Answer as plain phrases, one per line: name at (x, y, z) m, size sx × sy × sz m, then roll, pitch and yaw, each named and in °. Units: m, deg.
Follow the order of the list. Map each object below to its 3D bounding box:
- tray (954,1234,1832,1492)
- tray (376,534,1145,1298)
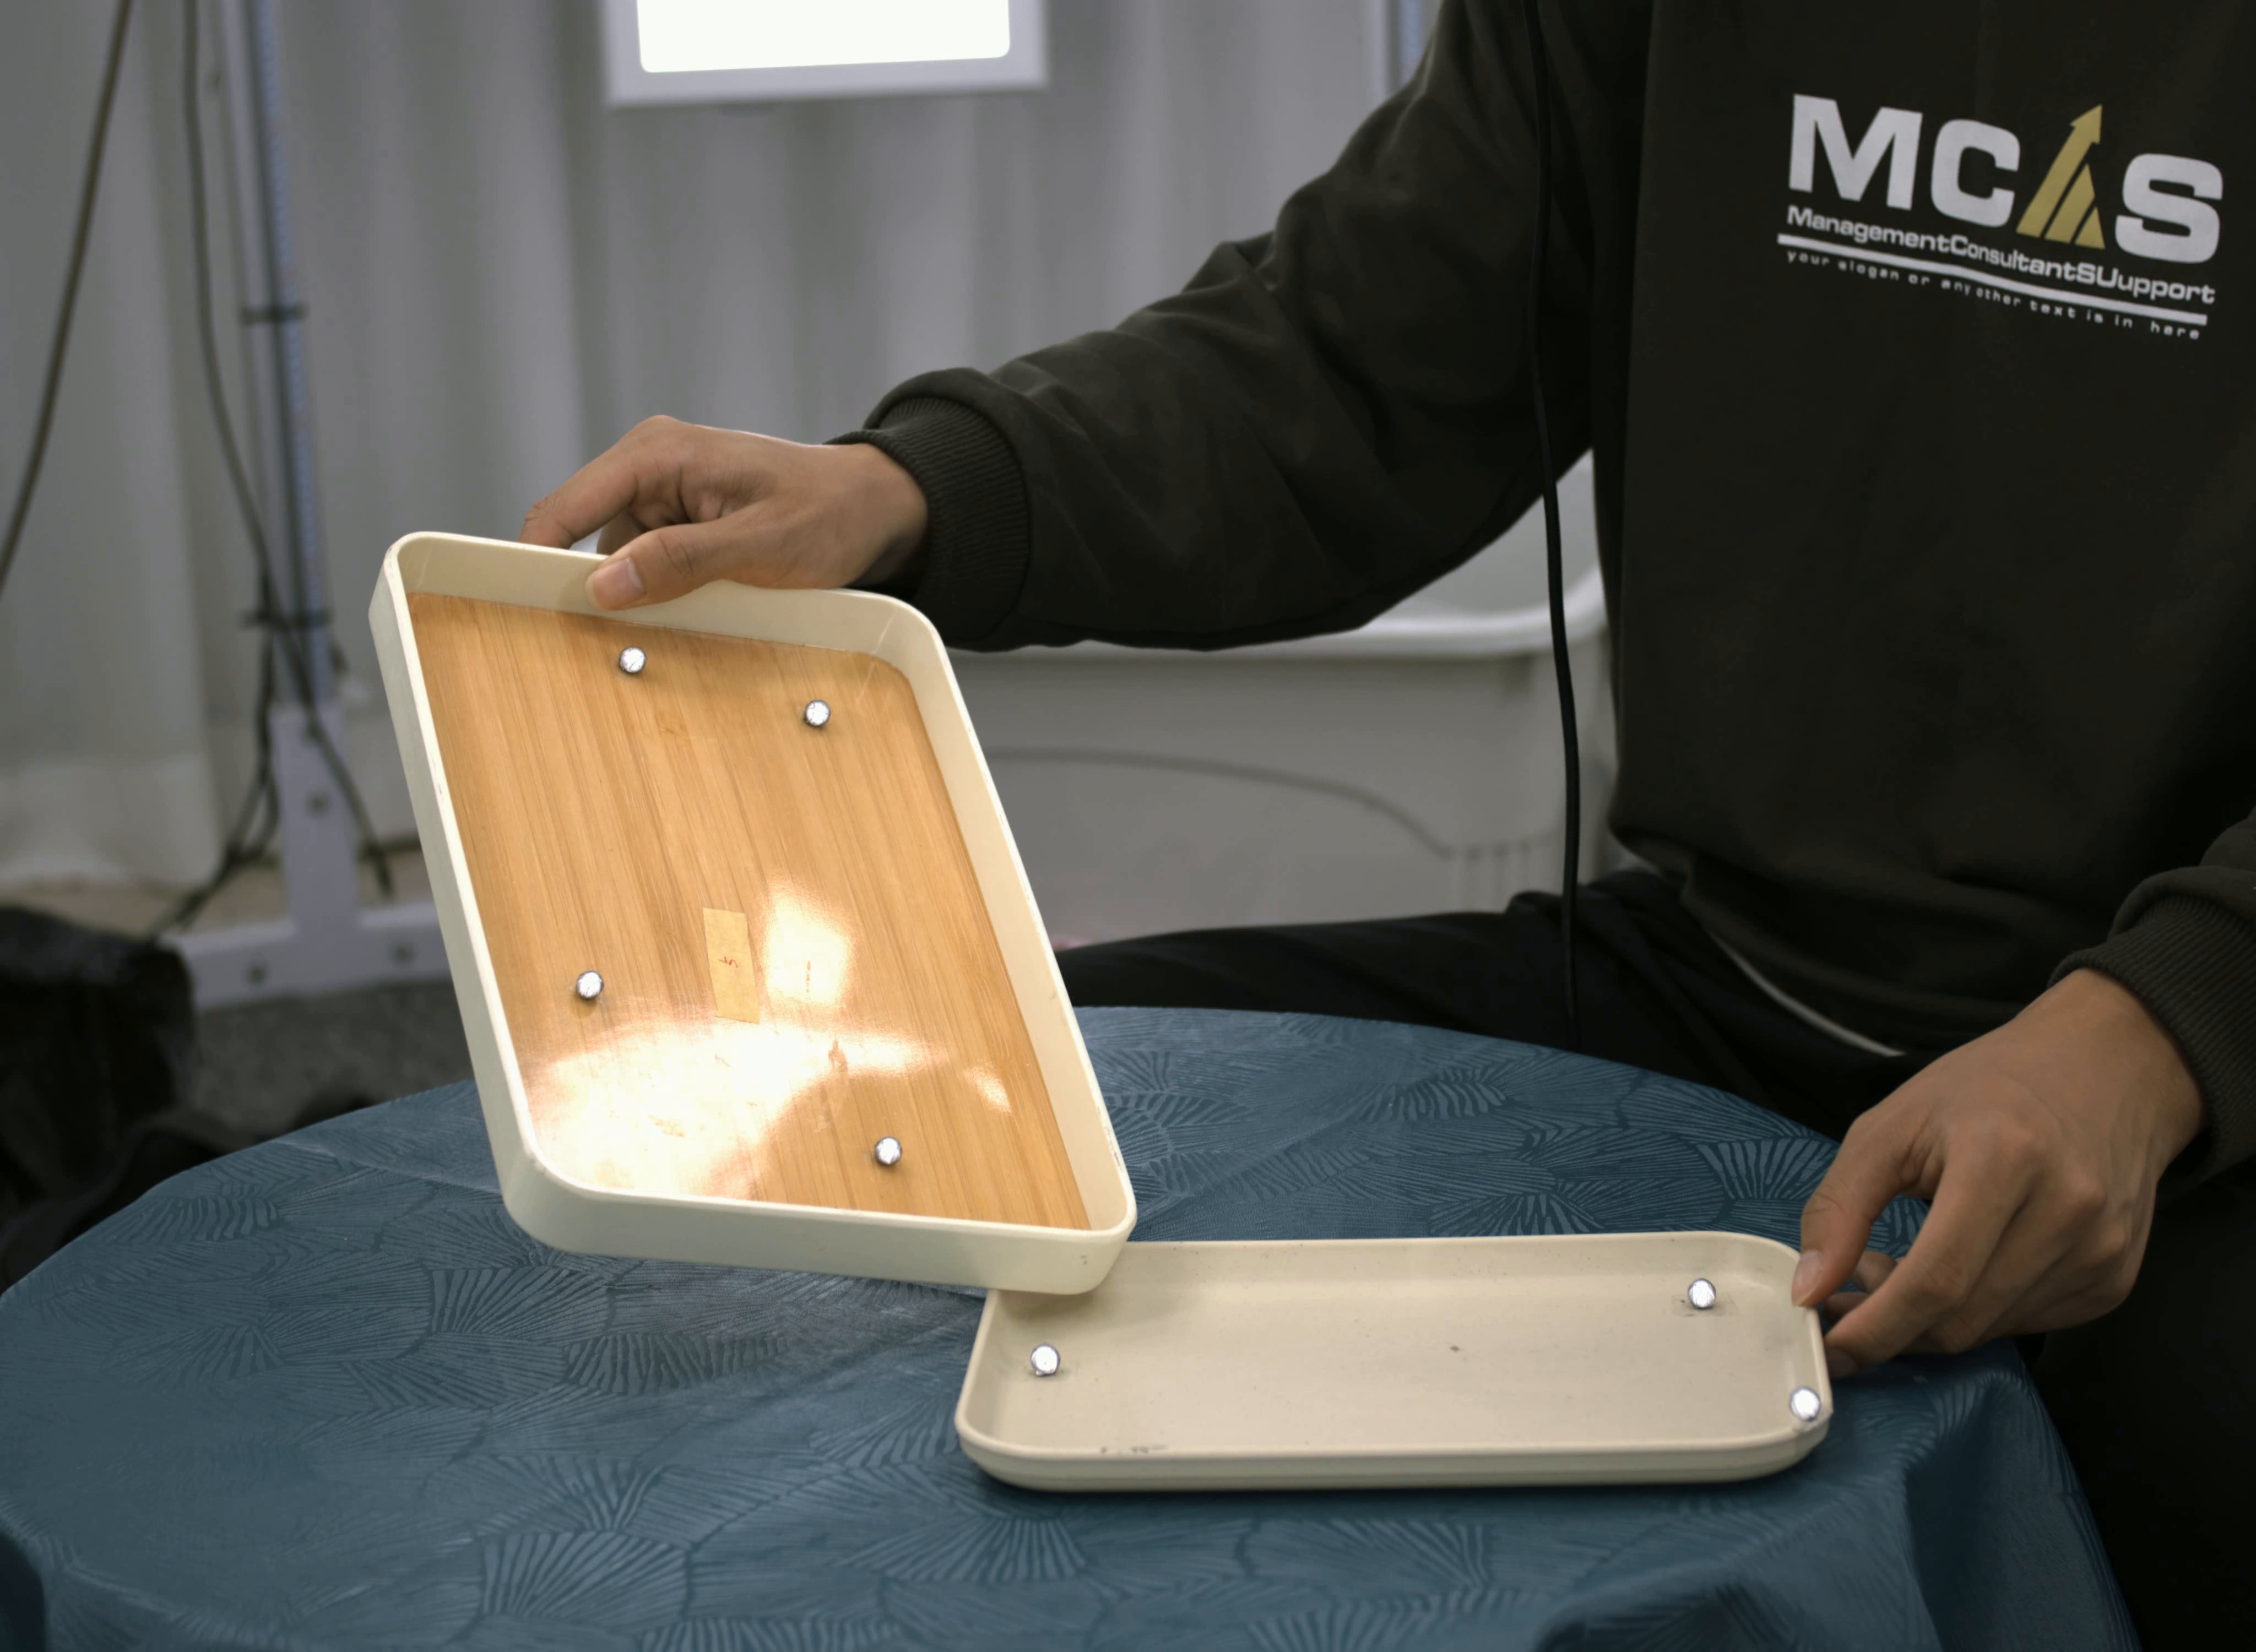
tray at (0.074, 0.151, 1.535) m, size 0.239 × 0.017 × 0.172 m, roll -1°, pitch 14°, yaw 4°
tray at (-0.117, 0.023, 1.668) m, size 0.190 × 0.027 × 0.305 m, roll 7°, pitch 38°, yaw -24°
